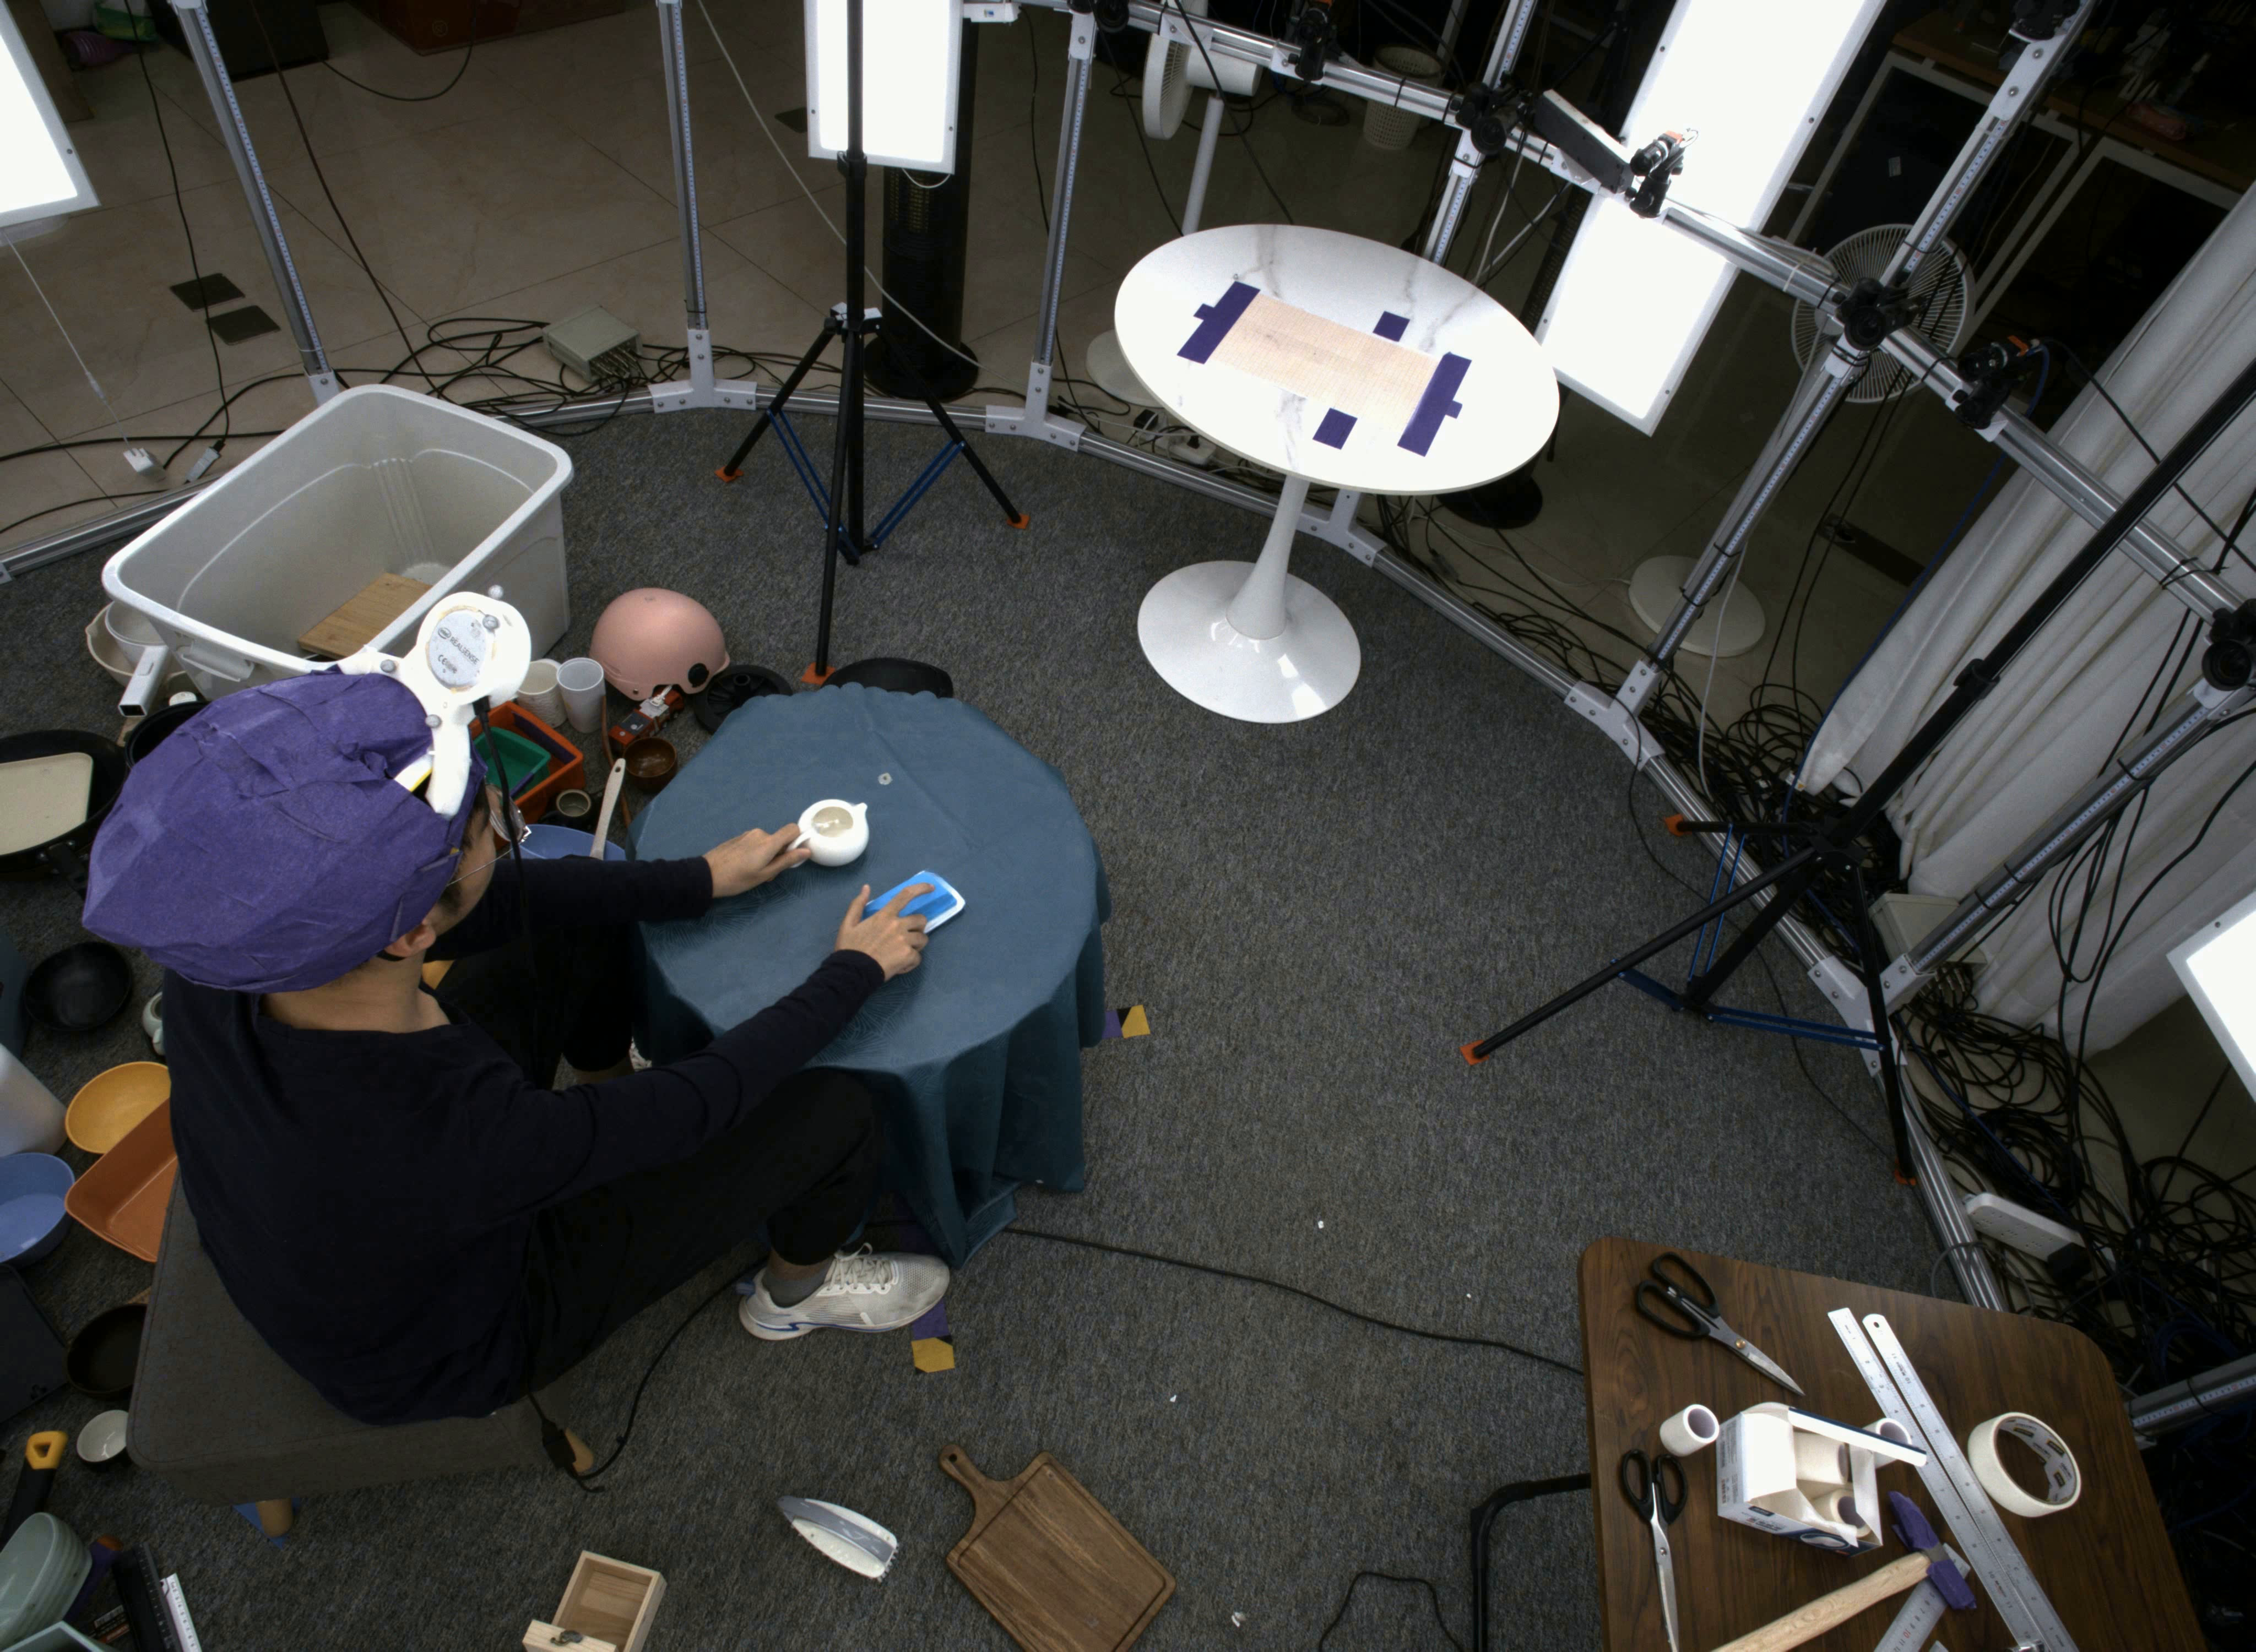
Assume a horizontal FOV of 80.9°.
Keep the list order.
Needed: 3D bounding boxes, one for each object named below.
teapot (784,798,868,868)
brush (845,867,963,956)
[{"bbox_3d":[-0.393,0.013,1.687,0.092,0.057,0.127,42,55,14],"label":"teapot"},{"bbox_3d":[-0.284,0.099,1.648,0.144,0.057,0.081,-29,61,-32],"label":"brush"}]
